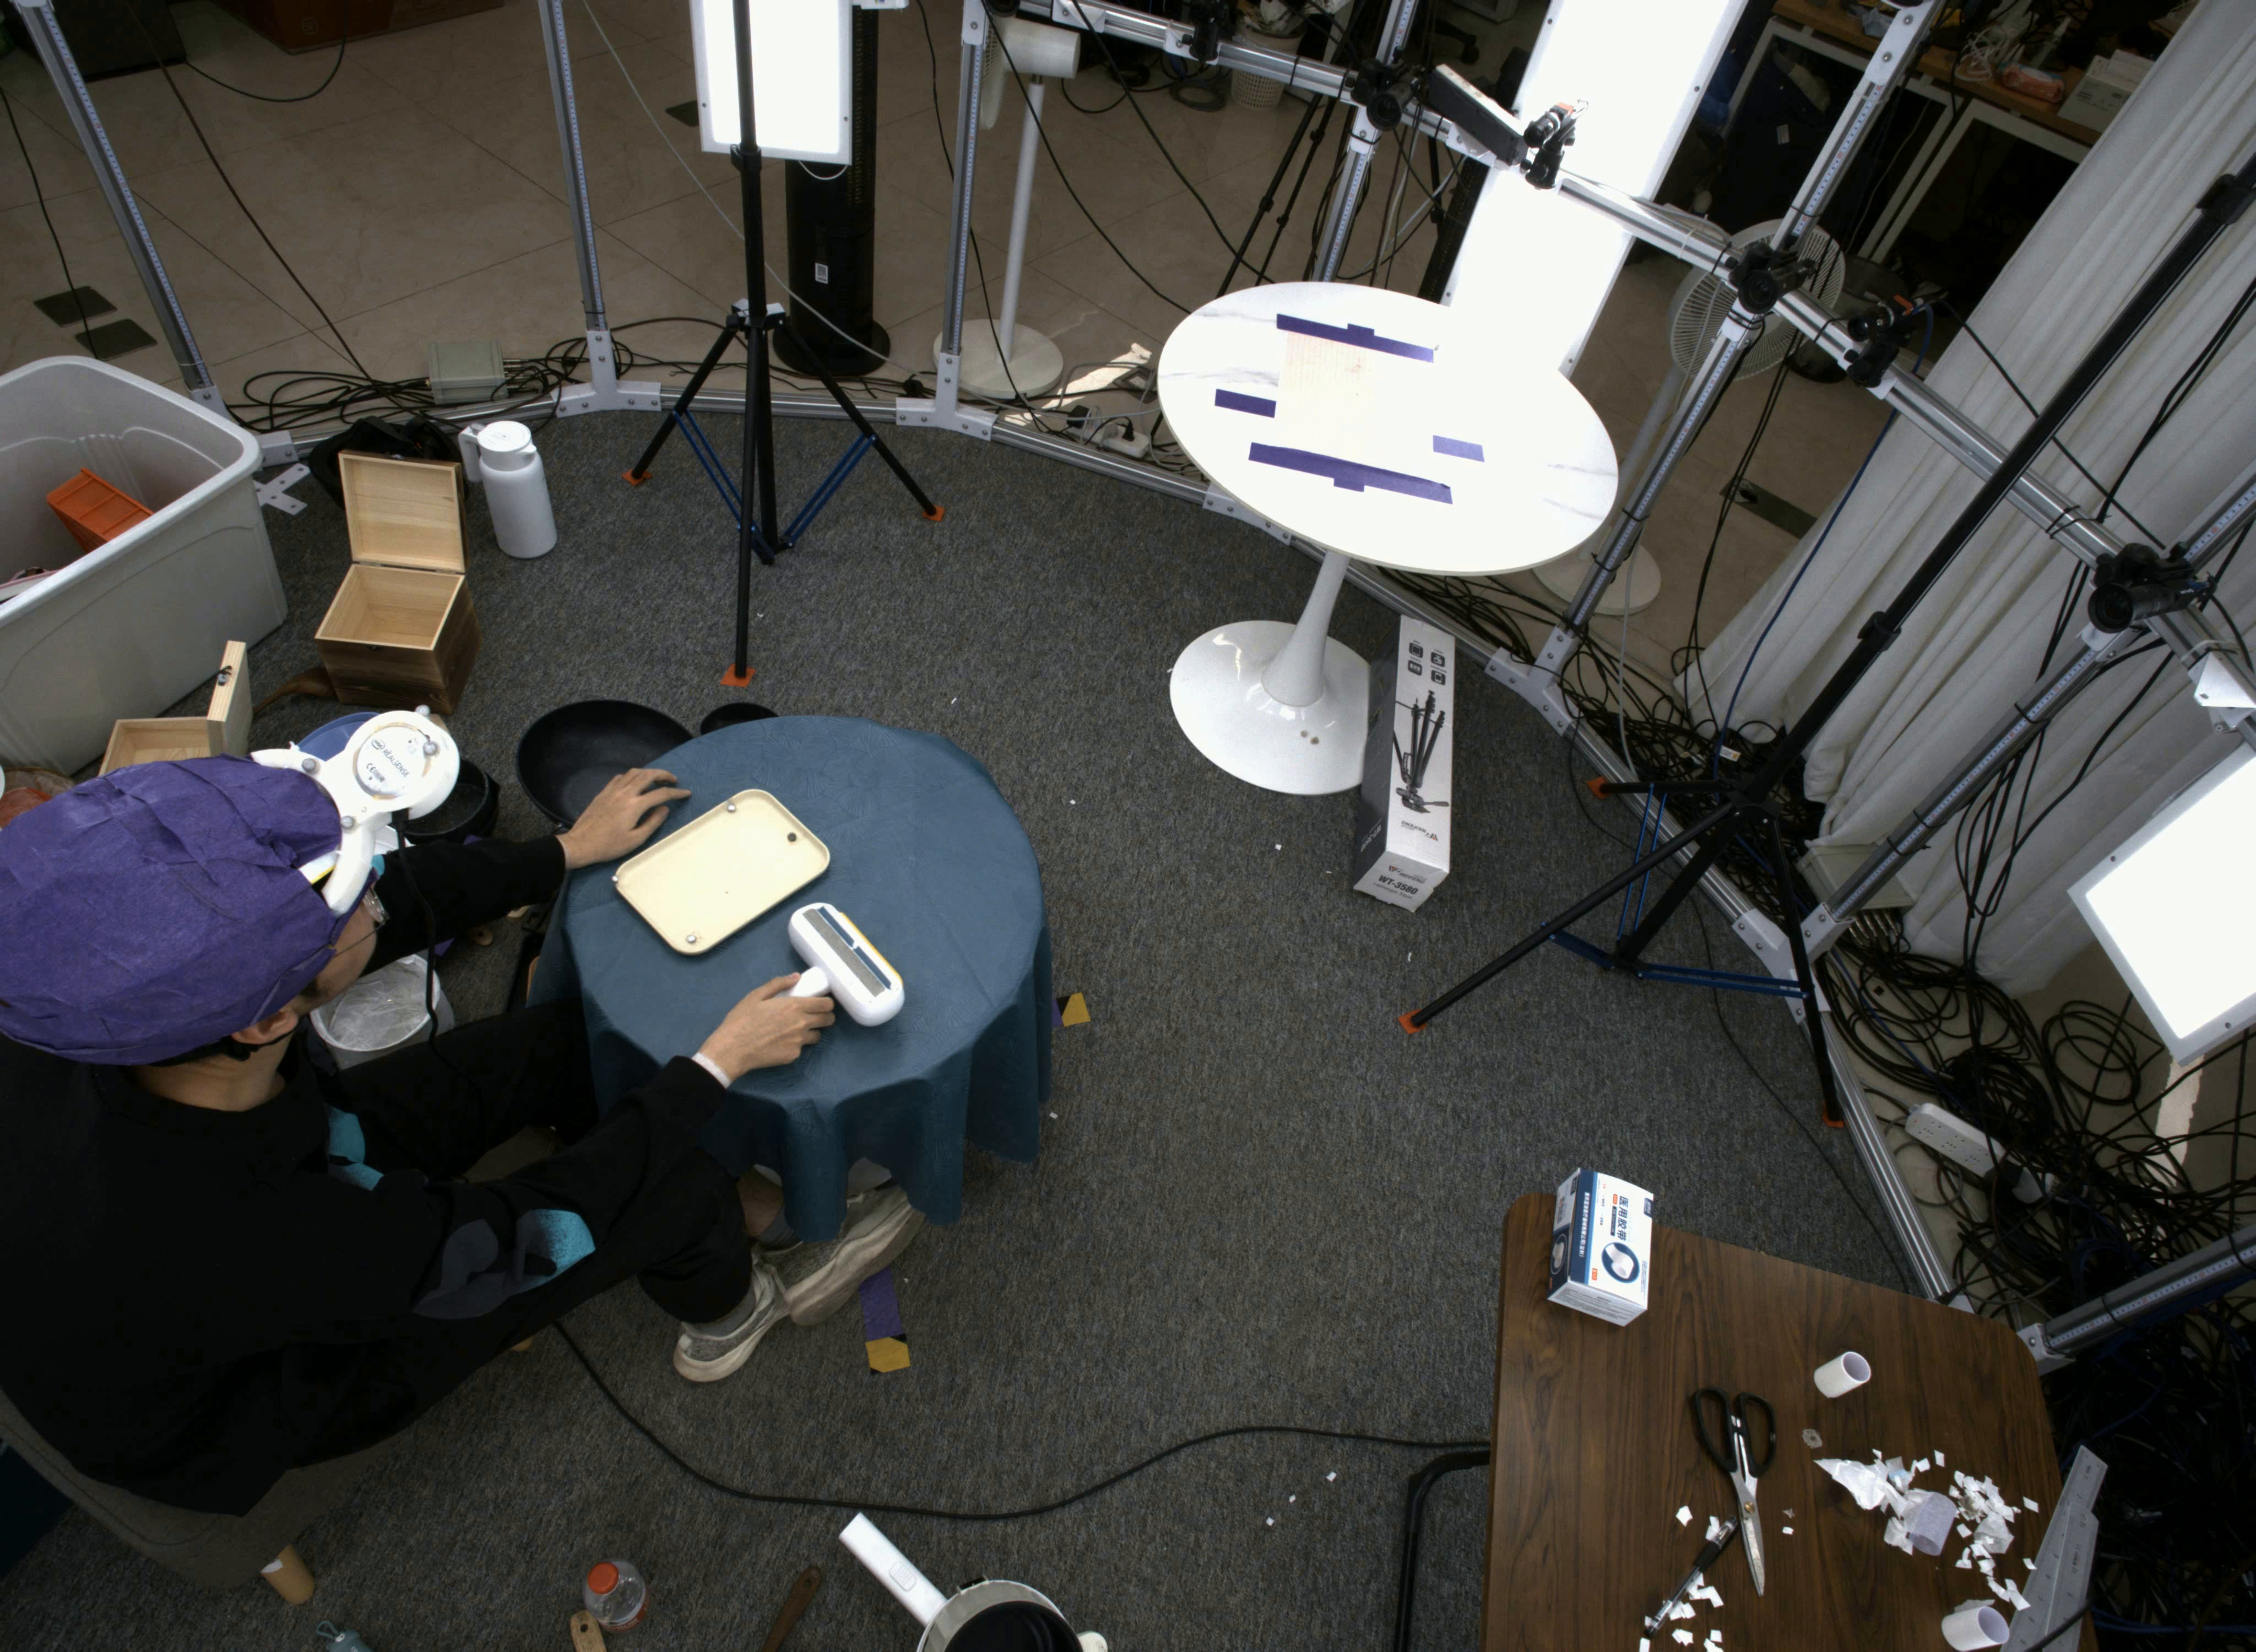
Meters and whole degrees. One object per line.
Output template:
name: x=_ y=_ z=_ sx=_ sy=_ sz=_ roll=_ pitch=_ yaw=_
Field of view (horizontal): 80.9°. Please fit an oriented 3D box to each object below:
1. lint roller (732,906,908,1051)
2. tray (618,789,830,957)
lint roller: x=-0.385 y=0.198 z=1.551 sx=0.193 sy=0.076 sz=0.187 roll=-27 pitch=59 yaw=-28
tray: x=-0.516 y=0.056 z=1.653 sx=0.168 sy=0.018 sz=0.240 roll=42 pitch=55 yaw=16
